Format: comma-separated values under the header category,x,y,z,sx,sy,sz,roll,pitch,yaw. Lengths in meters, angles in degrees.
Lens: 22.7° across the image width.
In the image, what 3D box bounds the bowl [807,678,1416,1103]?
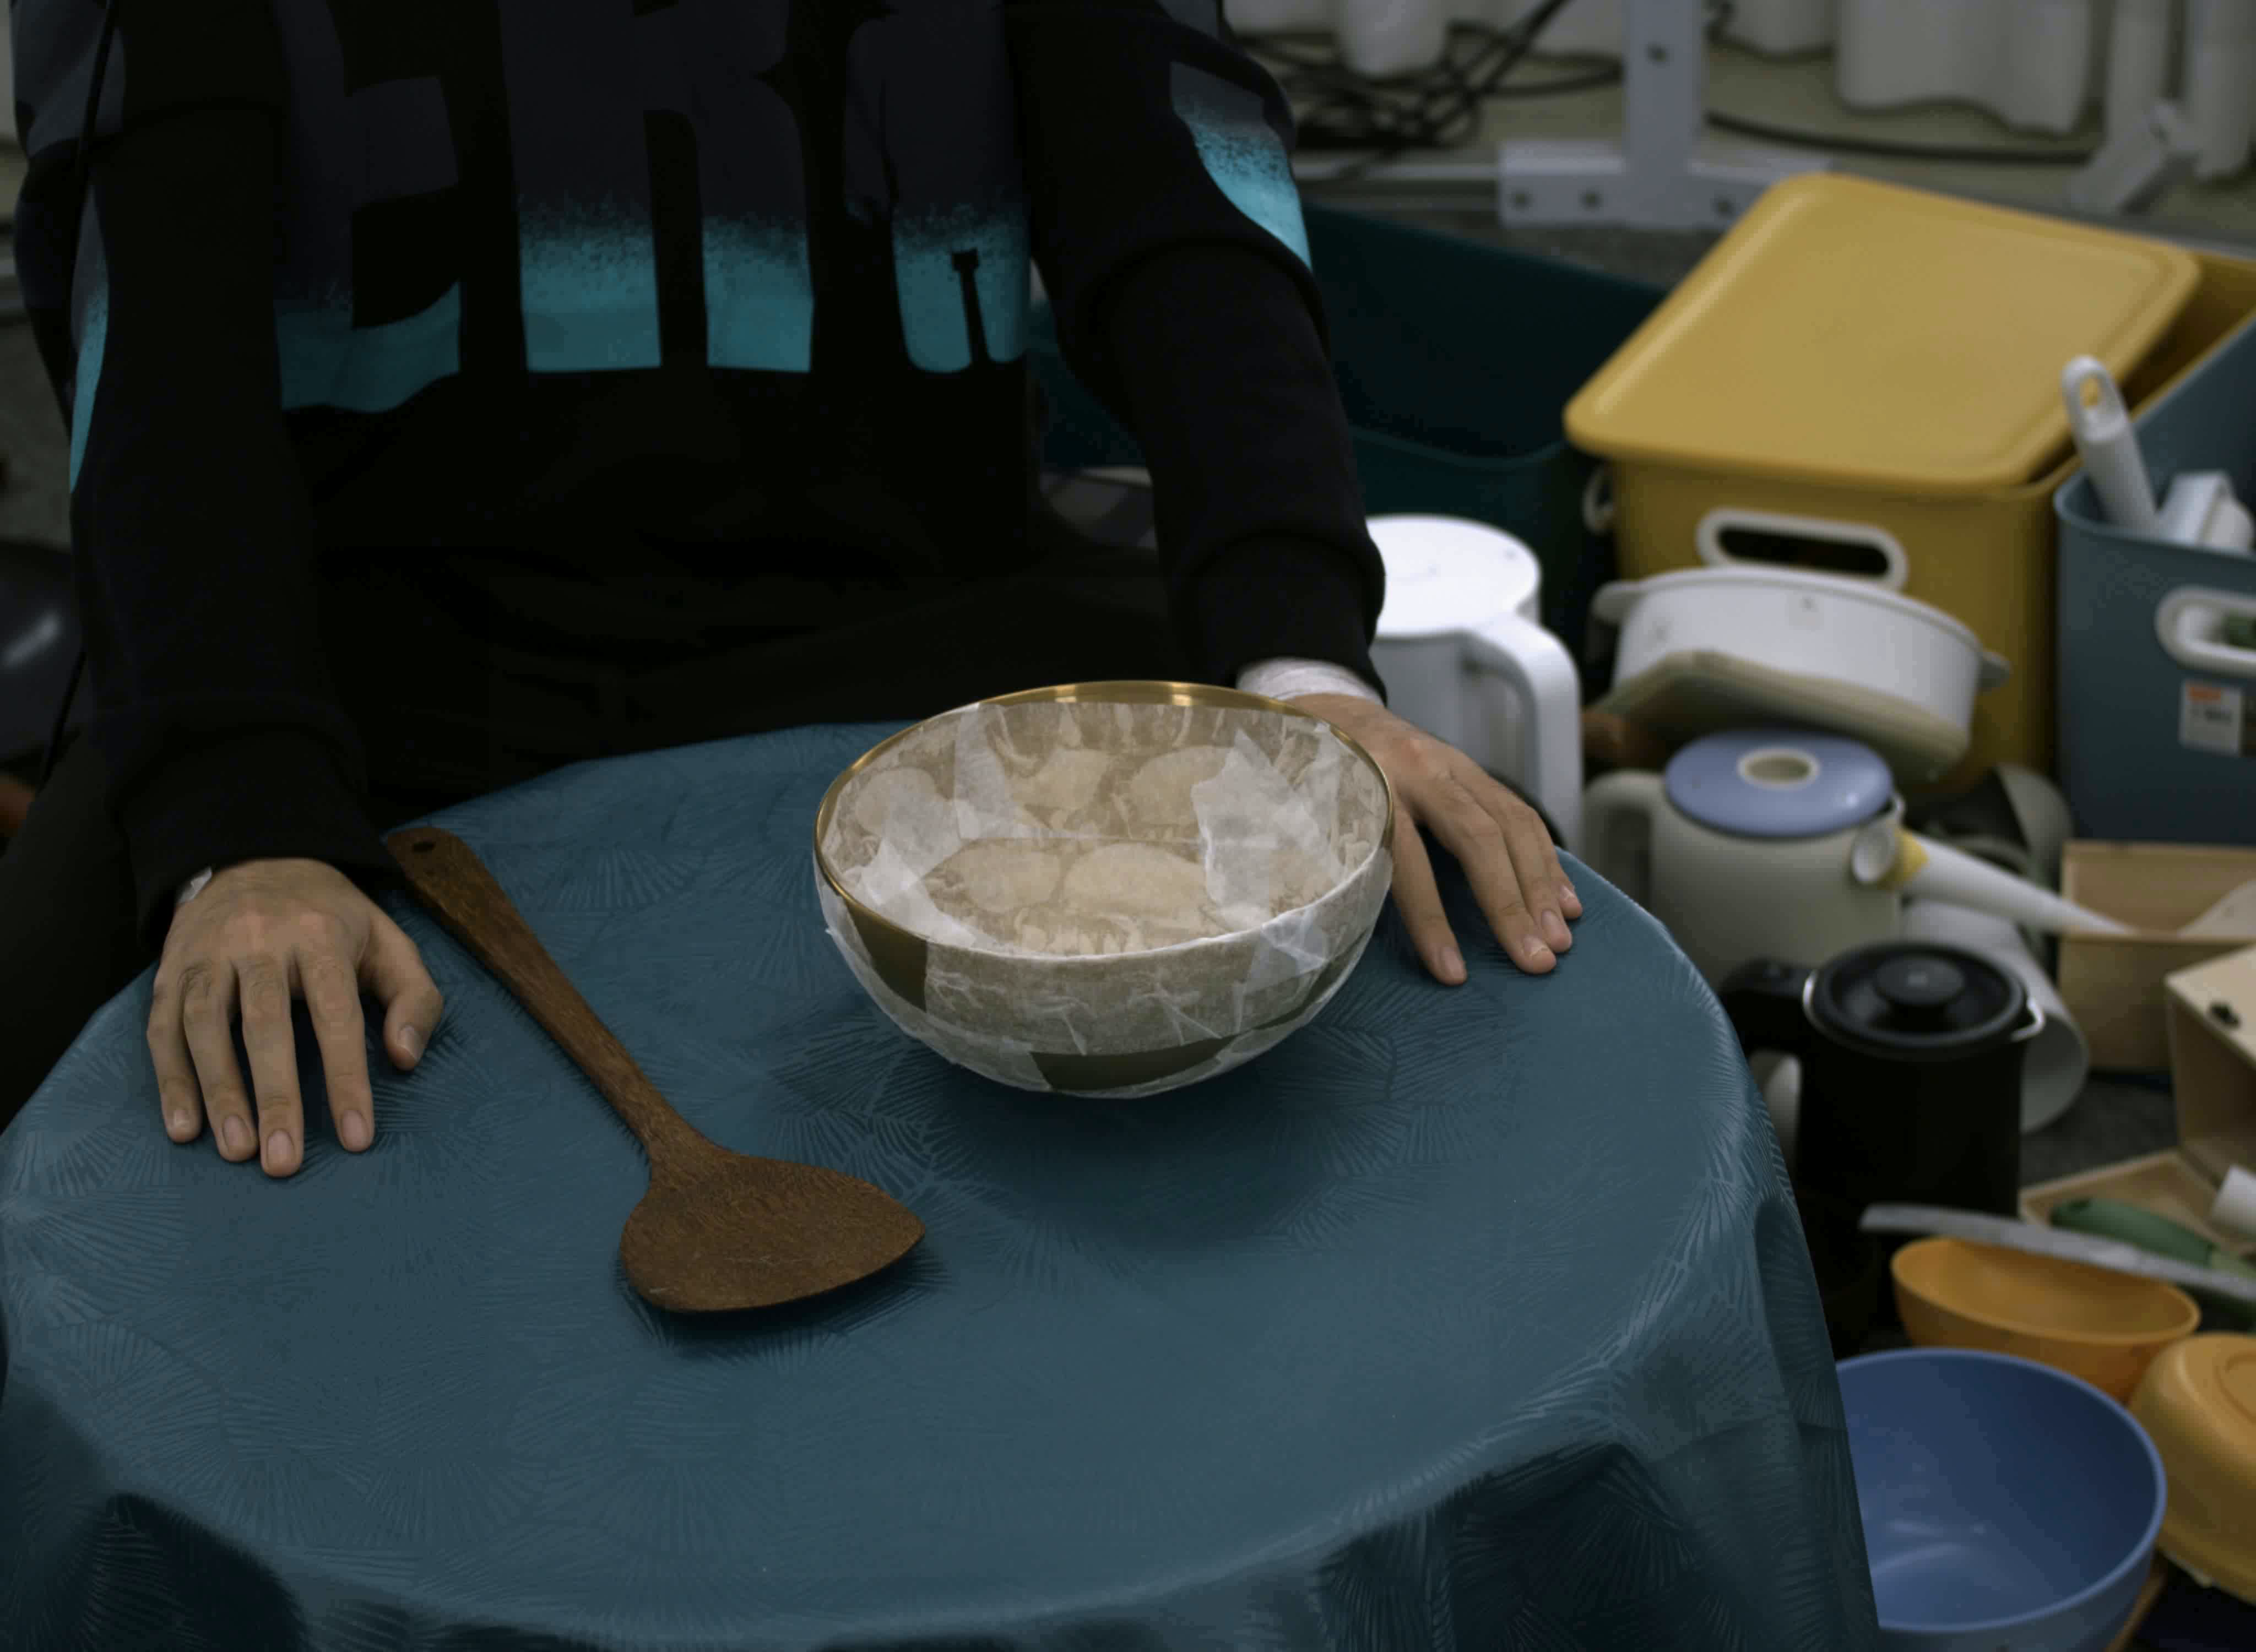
category,x,y,z,sx,sy,sz,roll,pitch,yaw
bowl,-0.004,0.033,1.933,0.213,0.093,0.218,-4,26,2

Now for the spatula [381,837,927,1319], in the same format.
category,x,y,z,sx,sy,sz,roll,pitch,yaw
spatula,-0.185,0.079,1.948,0.096,0.015,0.388,-15,29,-23
